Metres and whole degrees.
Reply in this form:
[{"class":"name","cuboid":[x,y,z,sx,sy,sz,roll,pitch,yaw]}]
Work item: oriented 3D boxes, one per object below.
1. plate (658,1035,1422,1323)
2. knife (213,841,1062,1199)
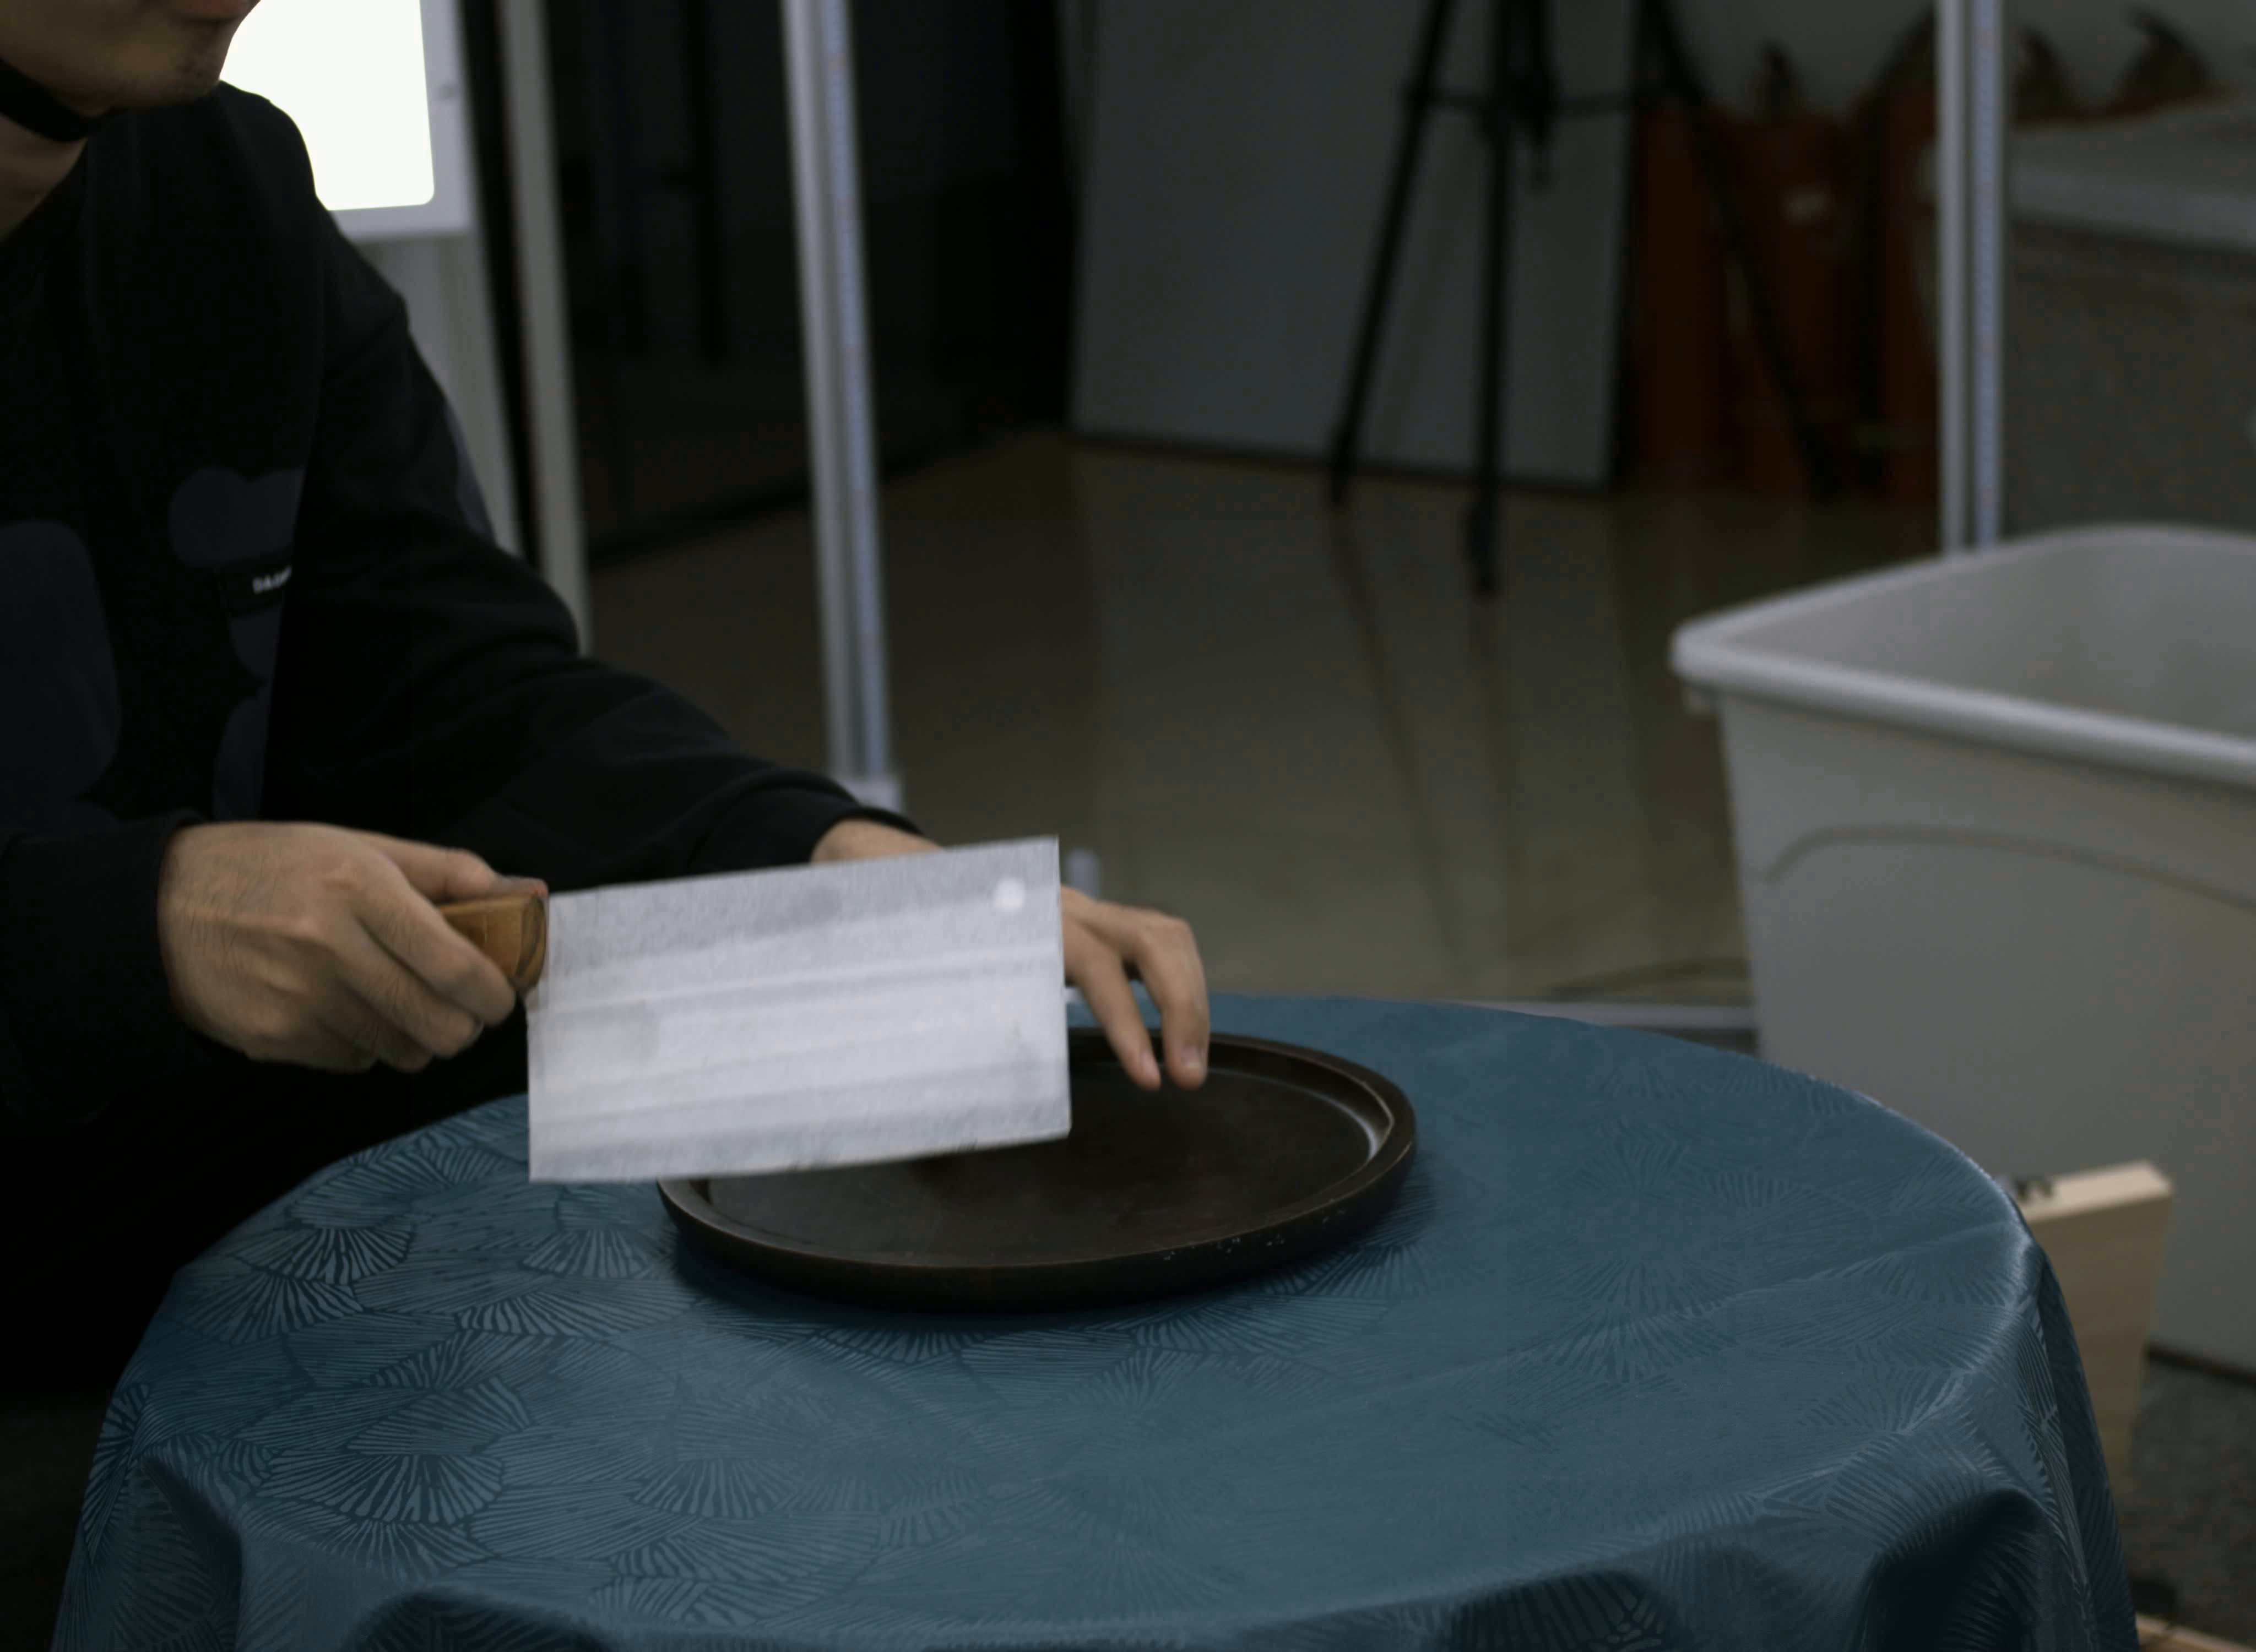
[{"class":"plate","cuboid":[-0.028,0.112,1.763,0.251,0.029,0.255,-4,16,0]},{"class":"knife","cuboid":[-0.153,0.065,1.646,0.306,0.094,0.020,-7,-11,29]}]
